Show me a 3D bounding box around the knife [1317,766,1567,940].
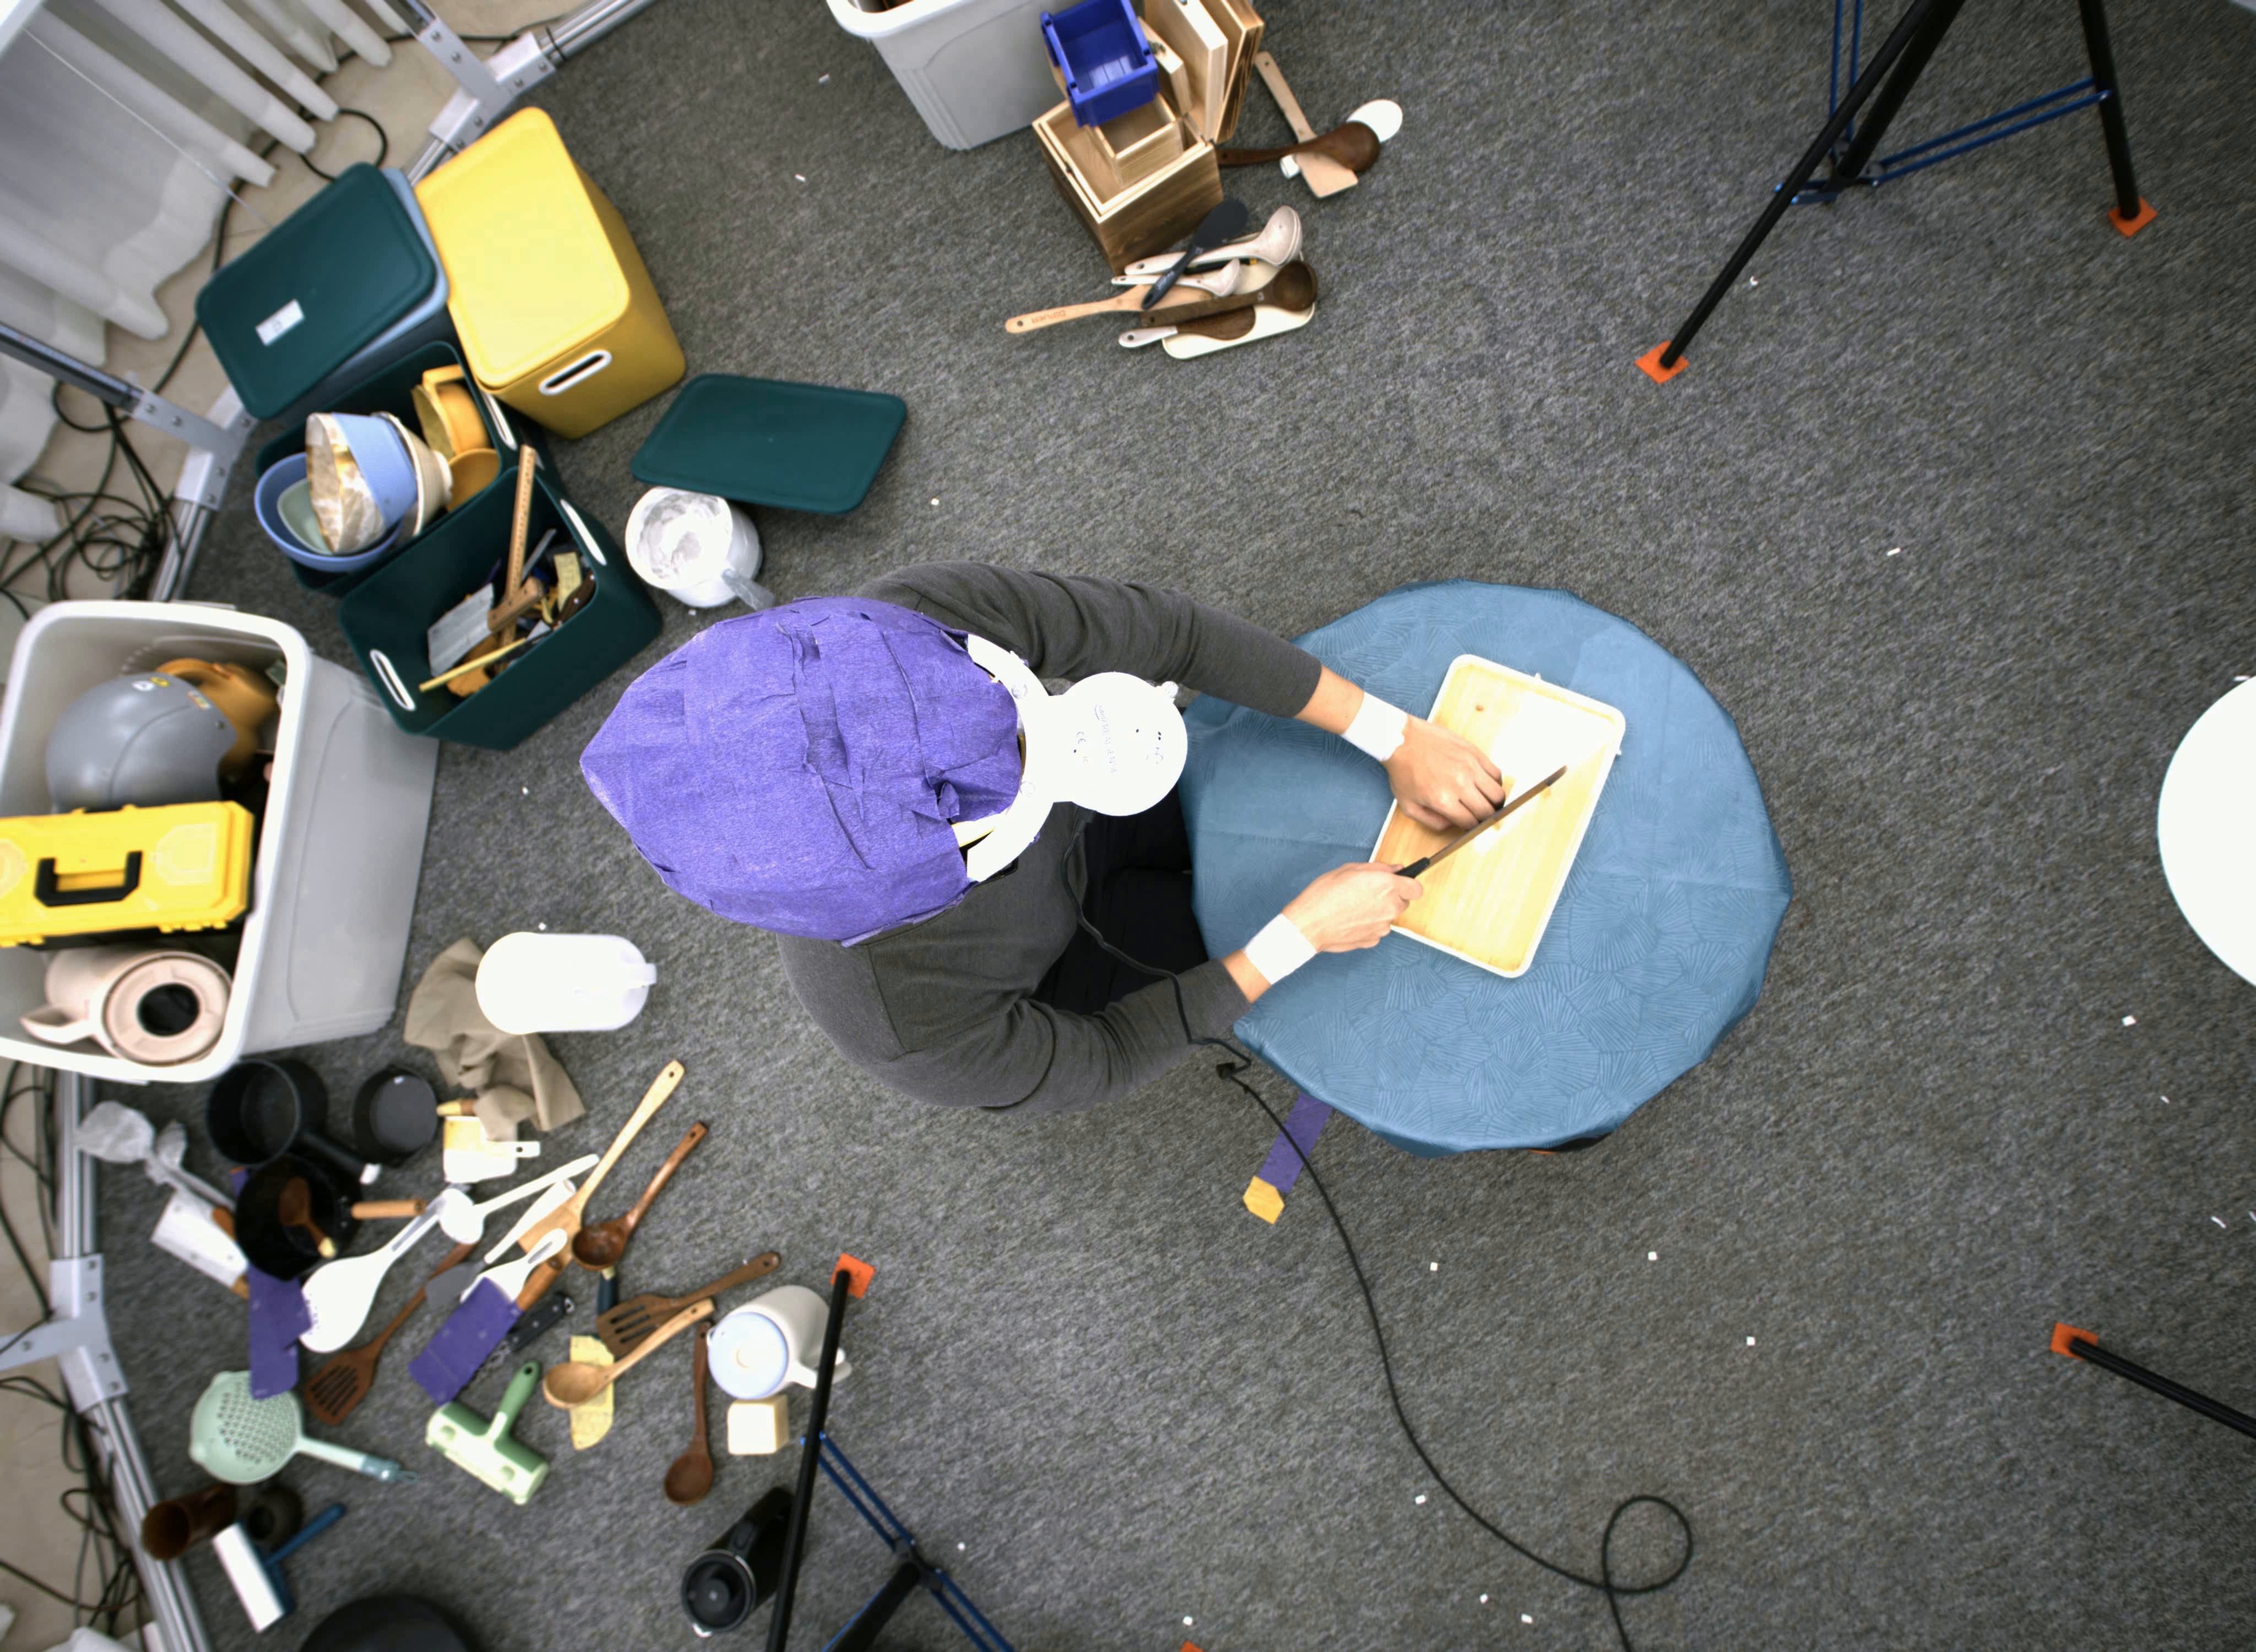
[{"bbox_3d":[0.321,0.026,1.402,0.302,0.081,0.020,-33,74,0],"label":"knife"}]

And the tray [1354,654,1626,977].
[{"bbox_3d":[0.375,-0.014,1.431,0.191,0.027,0.300,23,91,11],"label":"tray"}]
